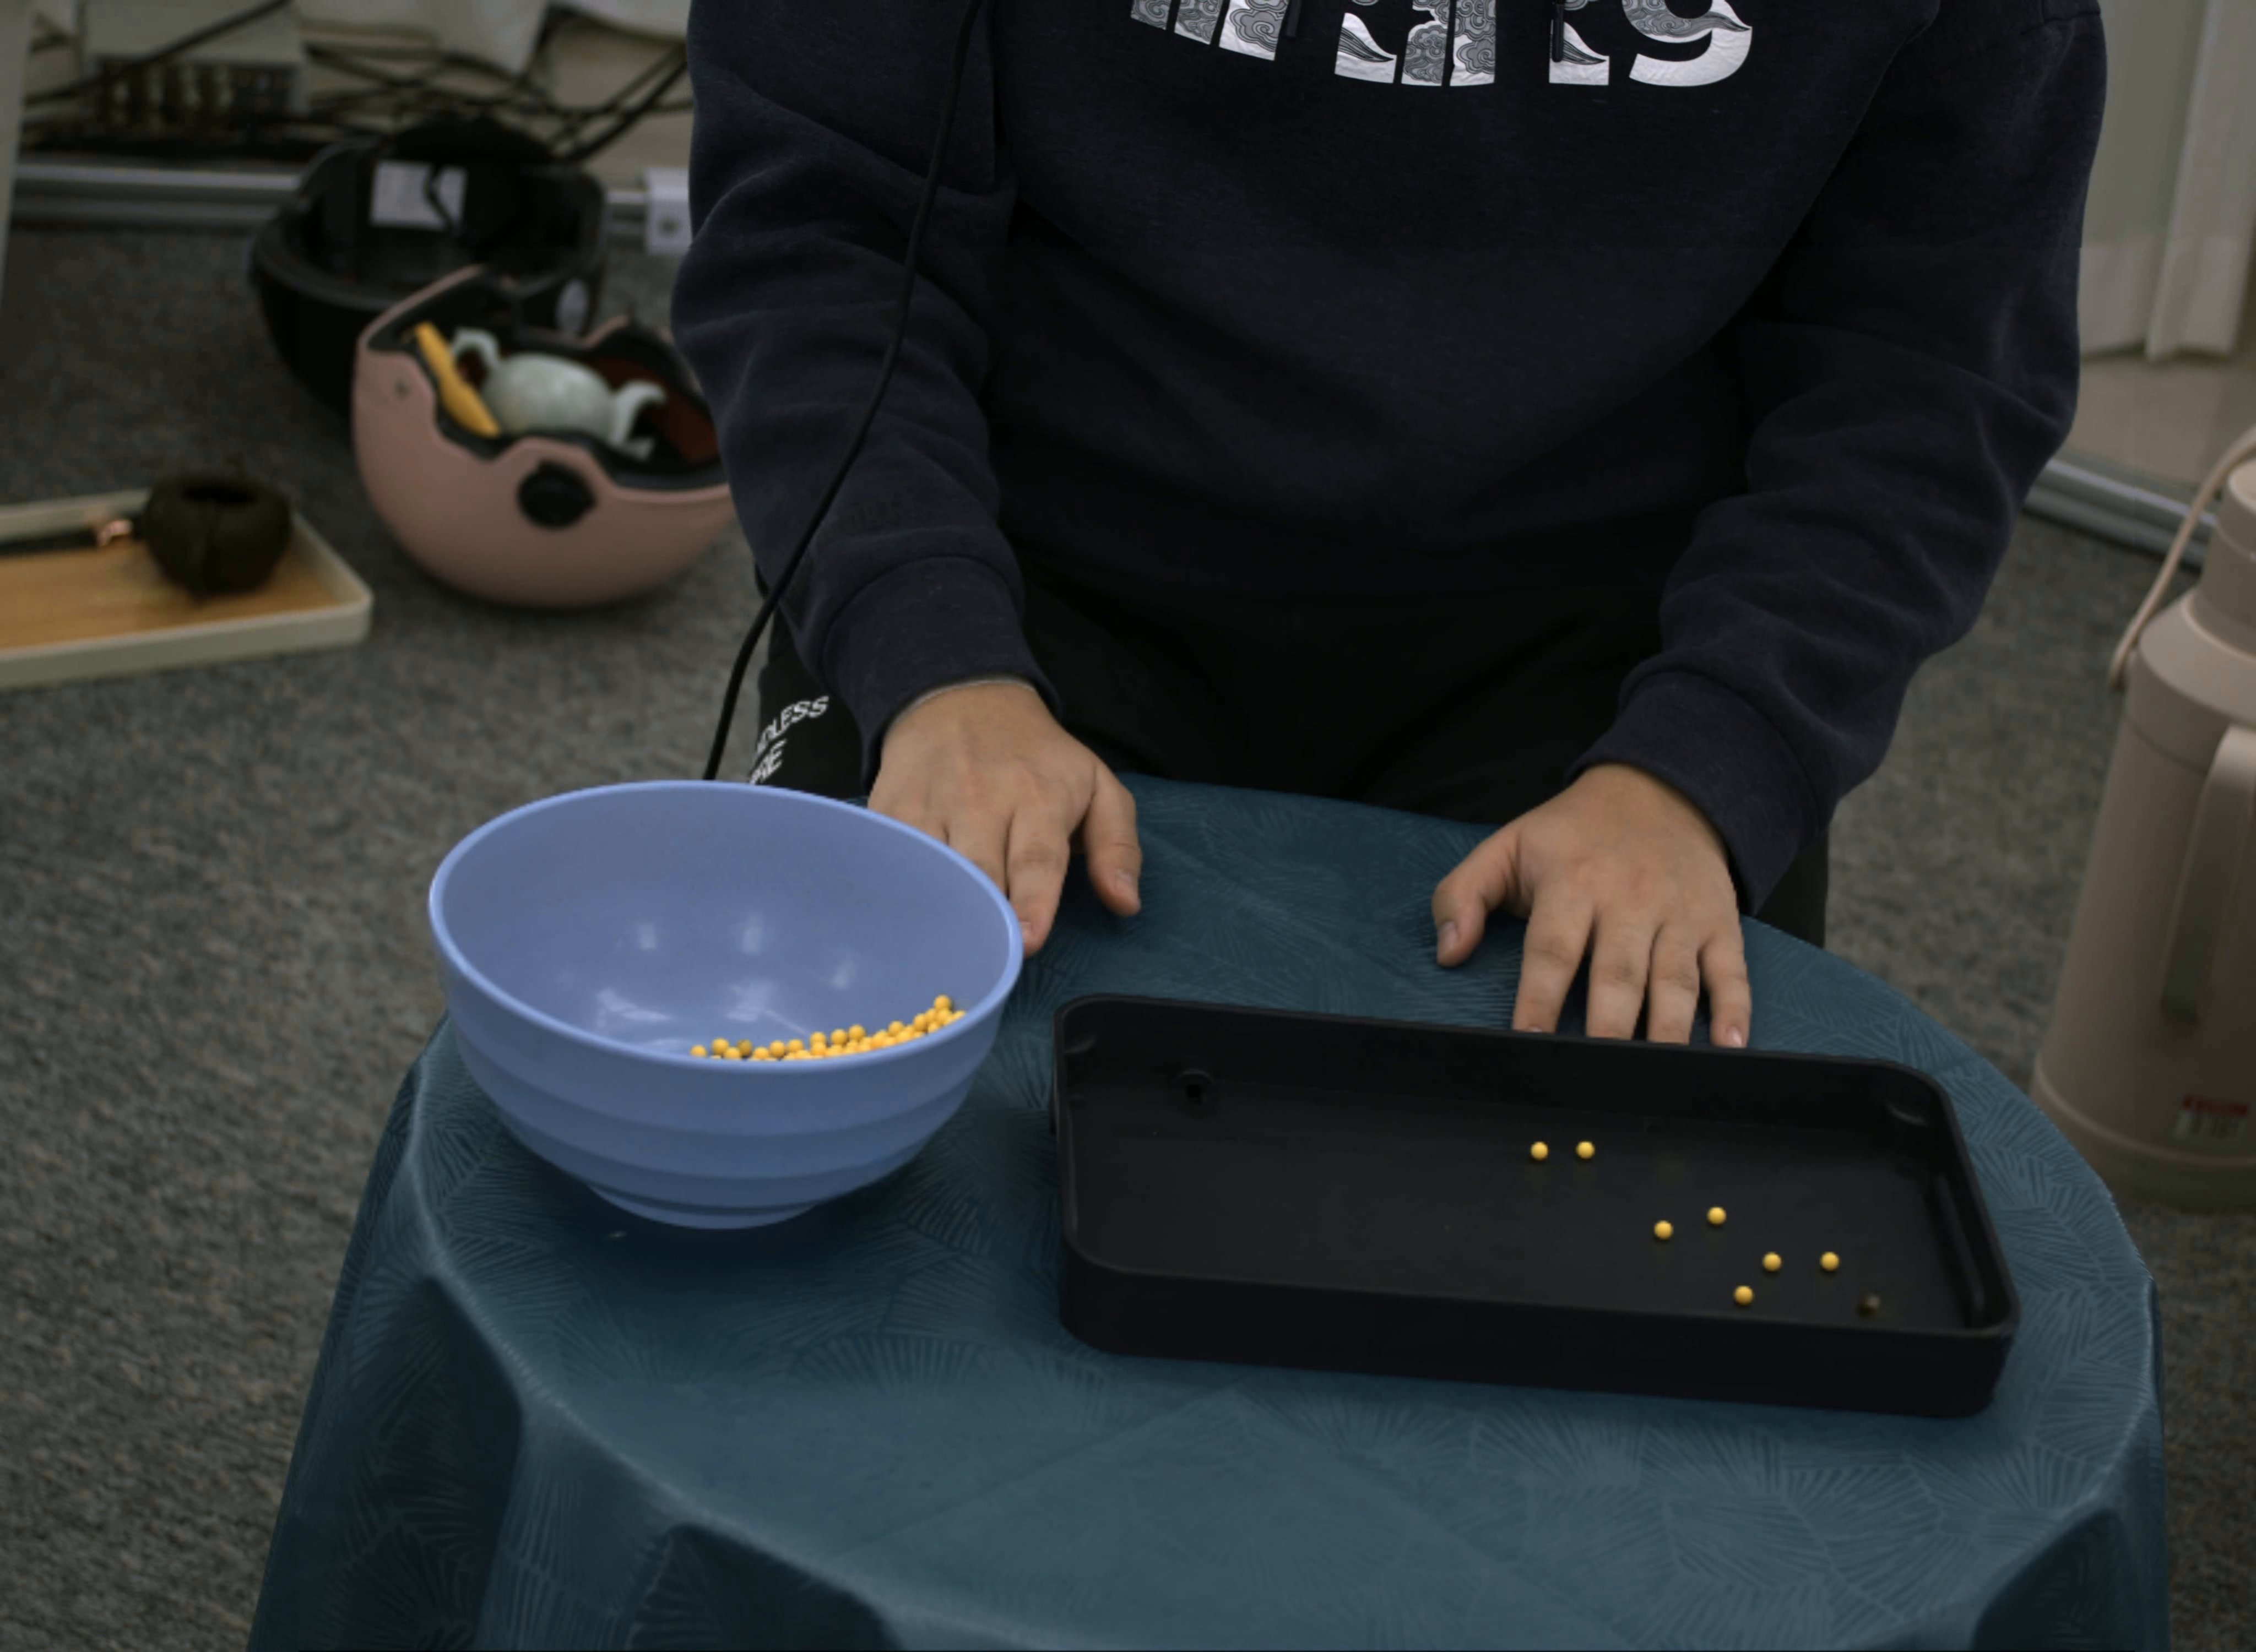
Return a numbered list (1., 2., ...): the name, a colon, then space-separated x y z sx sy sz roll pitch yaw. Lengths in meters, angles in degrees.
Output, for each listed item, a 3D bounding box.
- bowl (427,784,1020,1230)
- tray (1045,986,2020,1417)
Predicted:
1. bowl: -0.137 0.071 1.774 0.196 0.095 0.197 5 27 -3
2. tray: 0.129 0.125 1.793 0.317 0.037 0.185 5 27 -4
